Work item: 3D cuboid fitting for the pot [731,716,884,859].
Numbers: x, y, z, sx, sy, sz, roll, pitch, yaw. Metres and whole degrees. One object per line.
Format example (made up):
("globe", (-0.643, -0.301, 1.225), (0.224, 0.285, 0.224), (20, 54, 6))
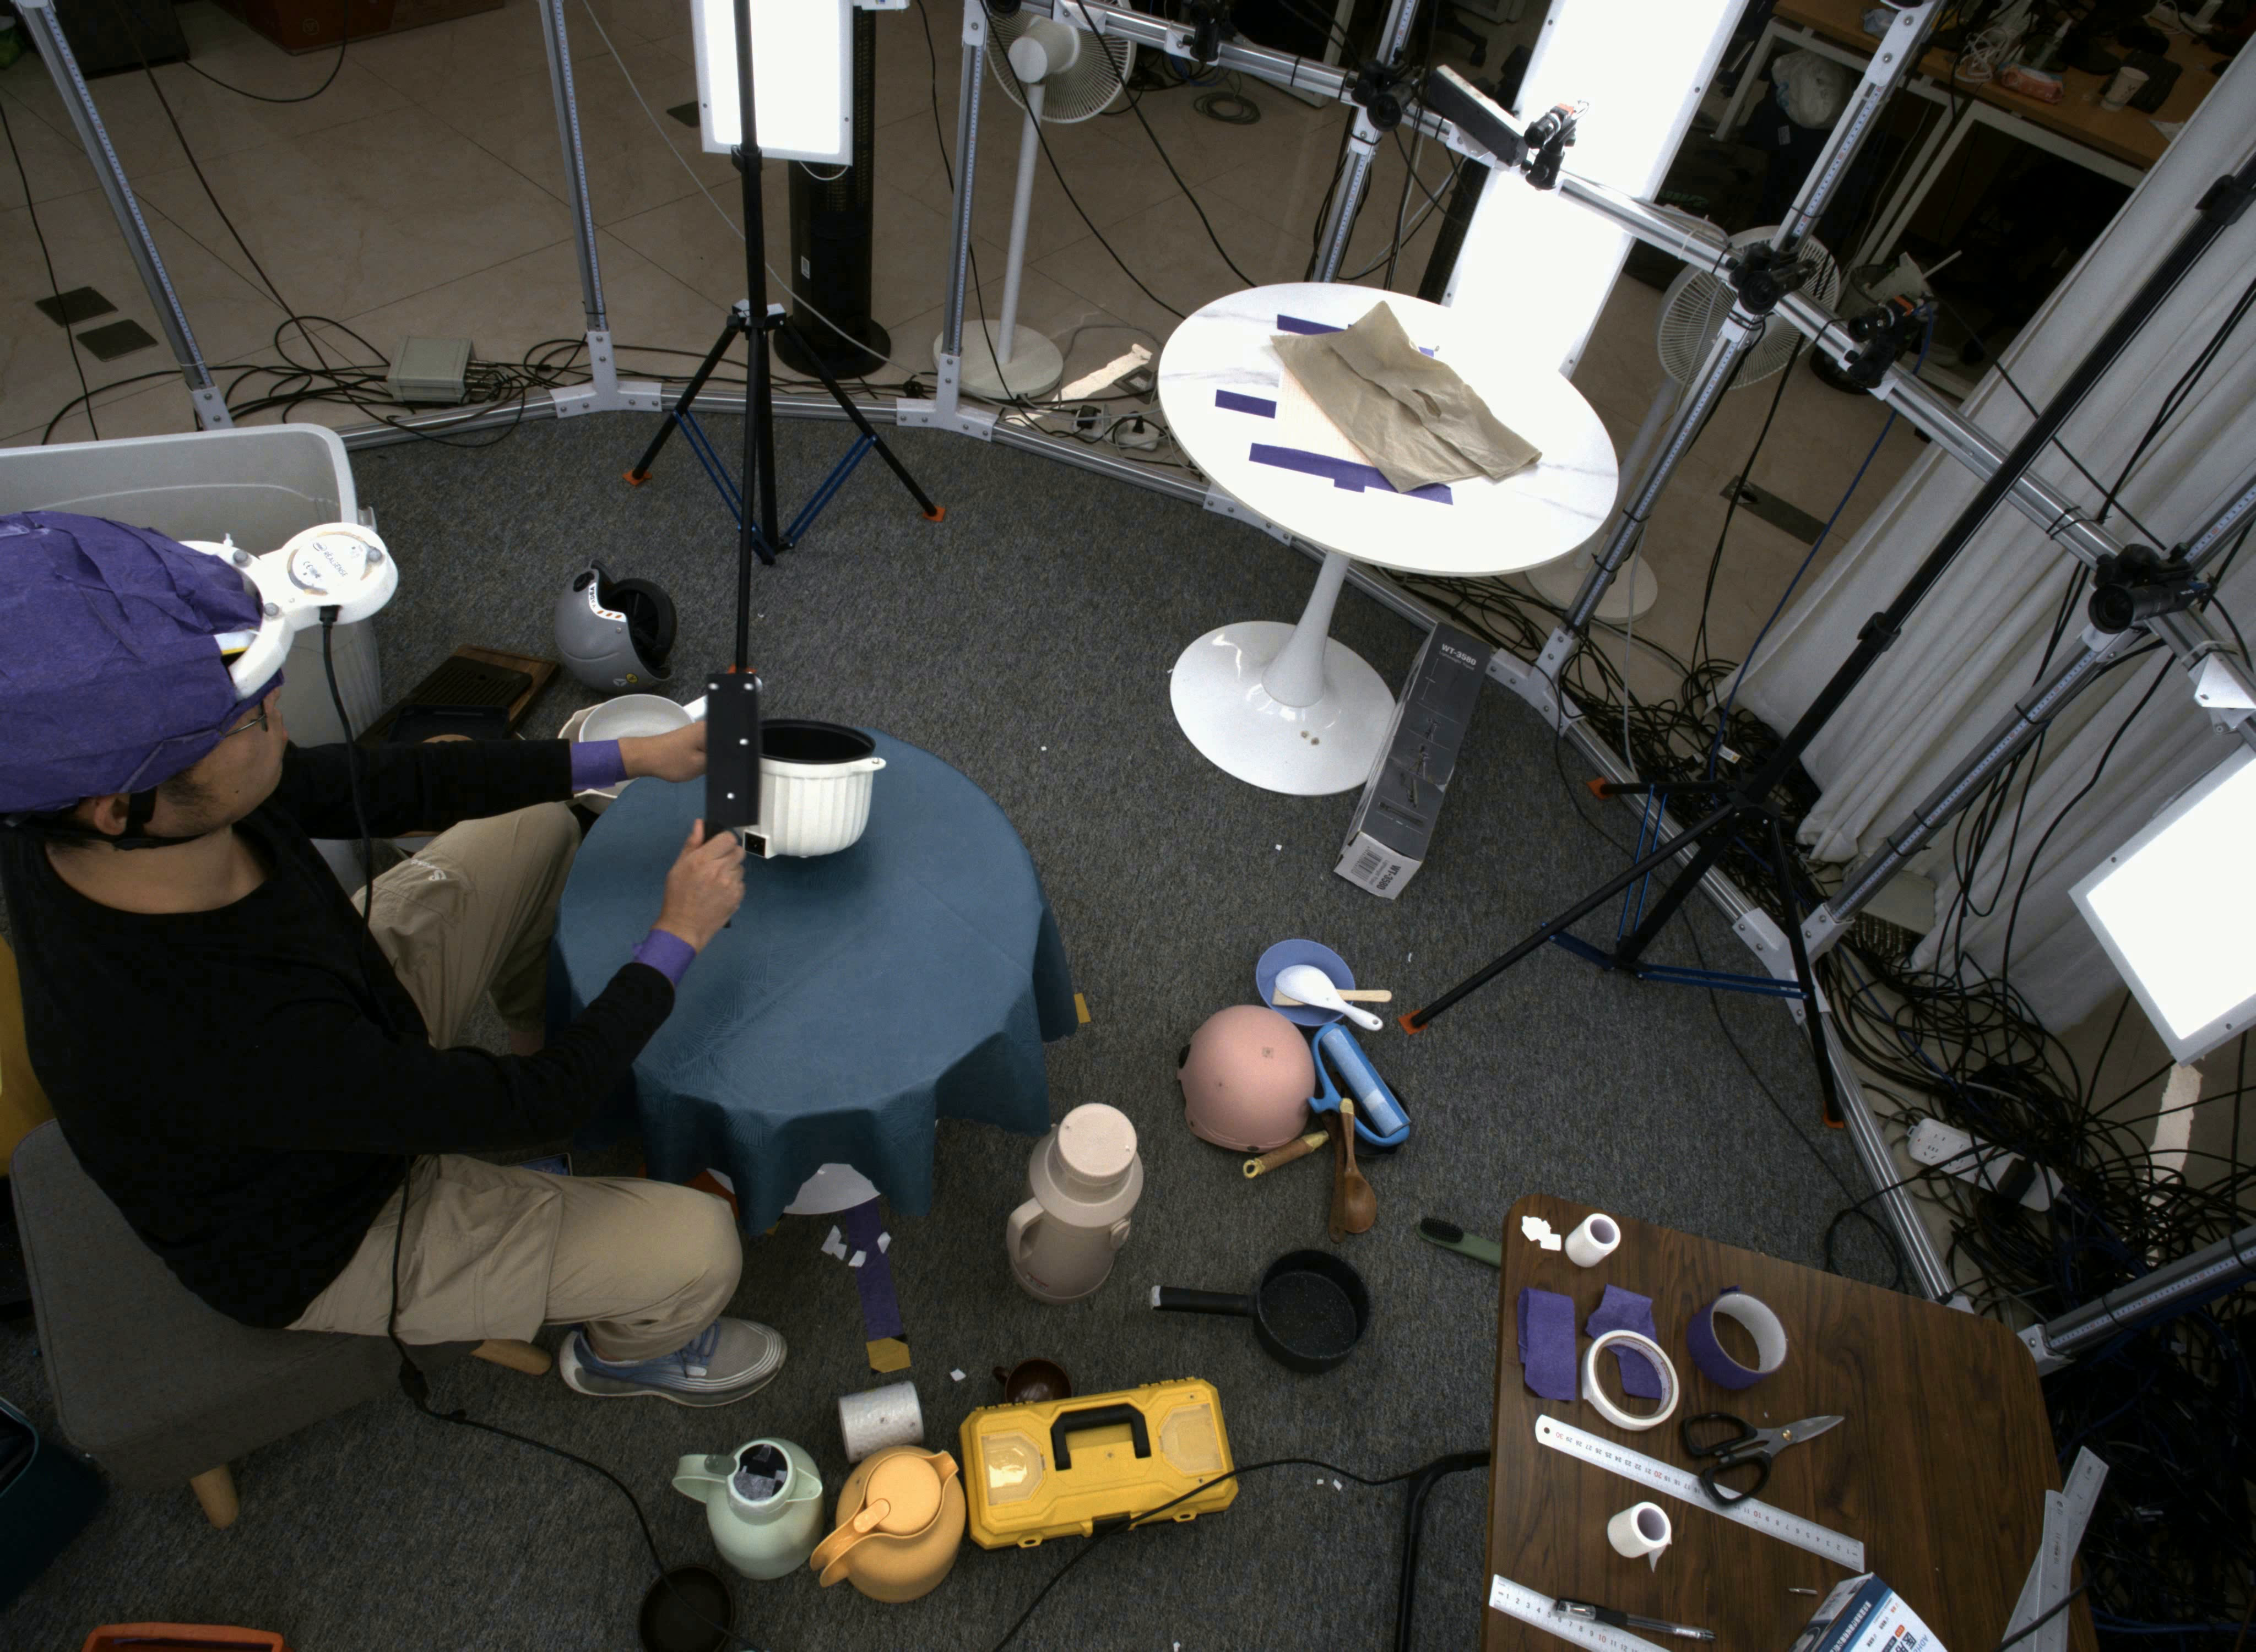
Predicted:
("pot", (-0.416, -0.051, 1.645), (0.234, 0.146, 0.191), (16, 24, 17))

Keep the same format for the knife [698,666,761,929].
("knife", (-0.458, -0.032, 1.480), (0.082, 0.308, 0.020), (-1, 15, -40))
